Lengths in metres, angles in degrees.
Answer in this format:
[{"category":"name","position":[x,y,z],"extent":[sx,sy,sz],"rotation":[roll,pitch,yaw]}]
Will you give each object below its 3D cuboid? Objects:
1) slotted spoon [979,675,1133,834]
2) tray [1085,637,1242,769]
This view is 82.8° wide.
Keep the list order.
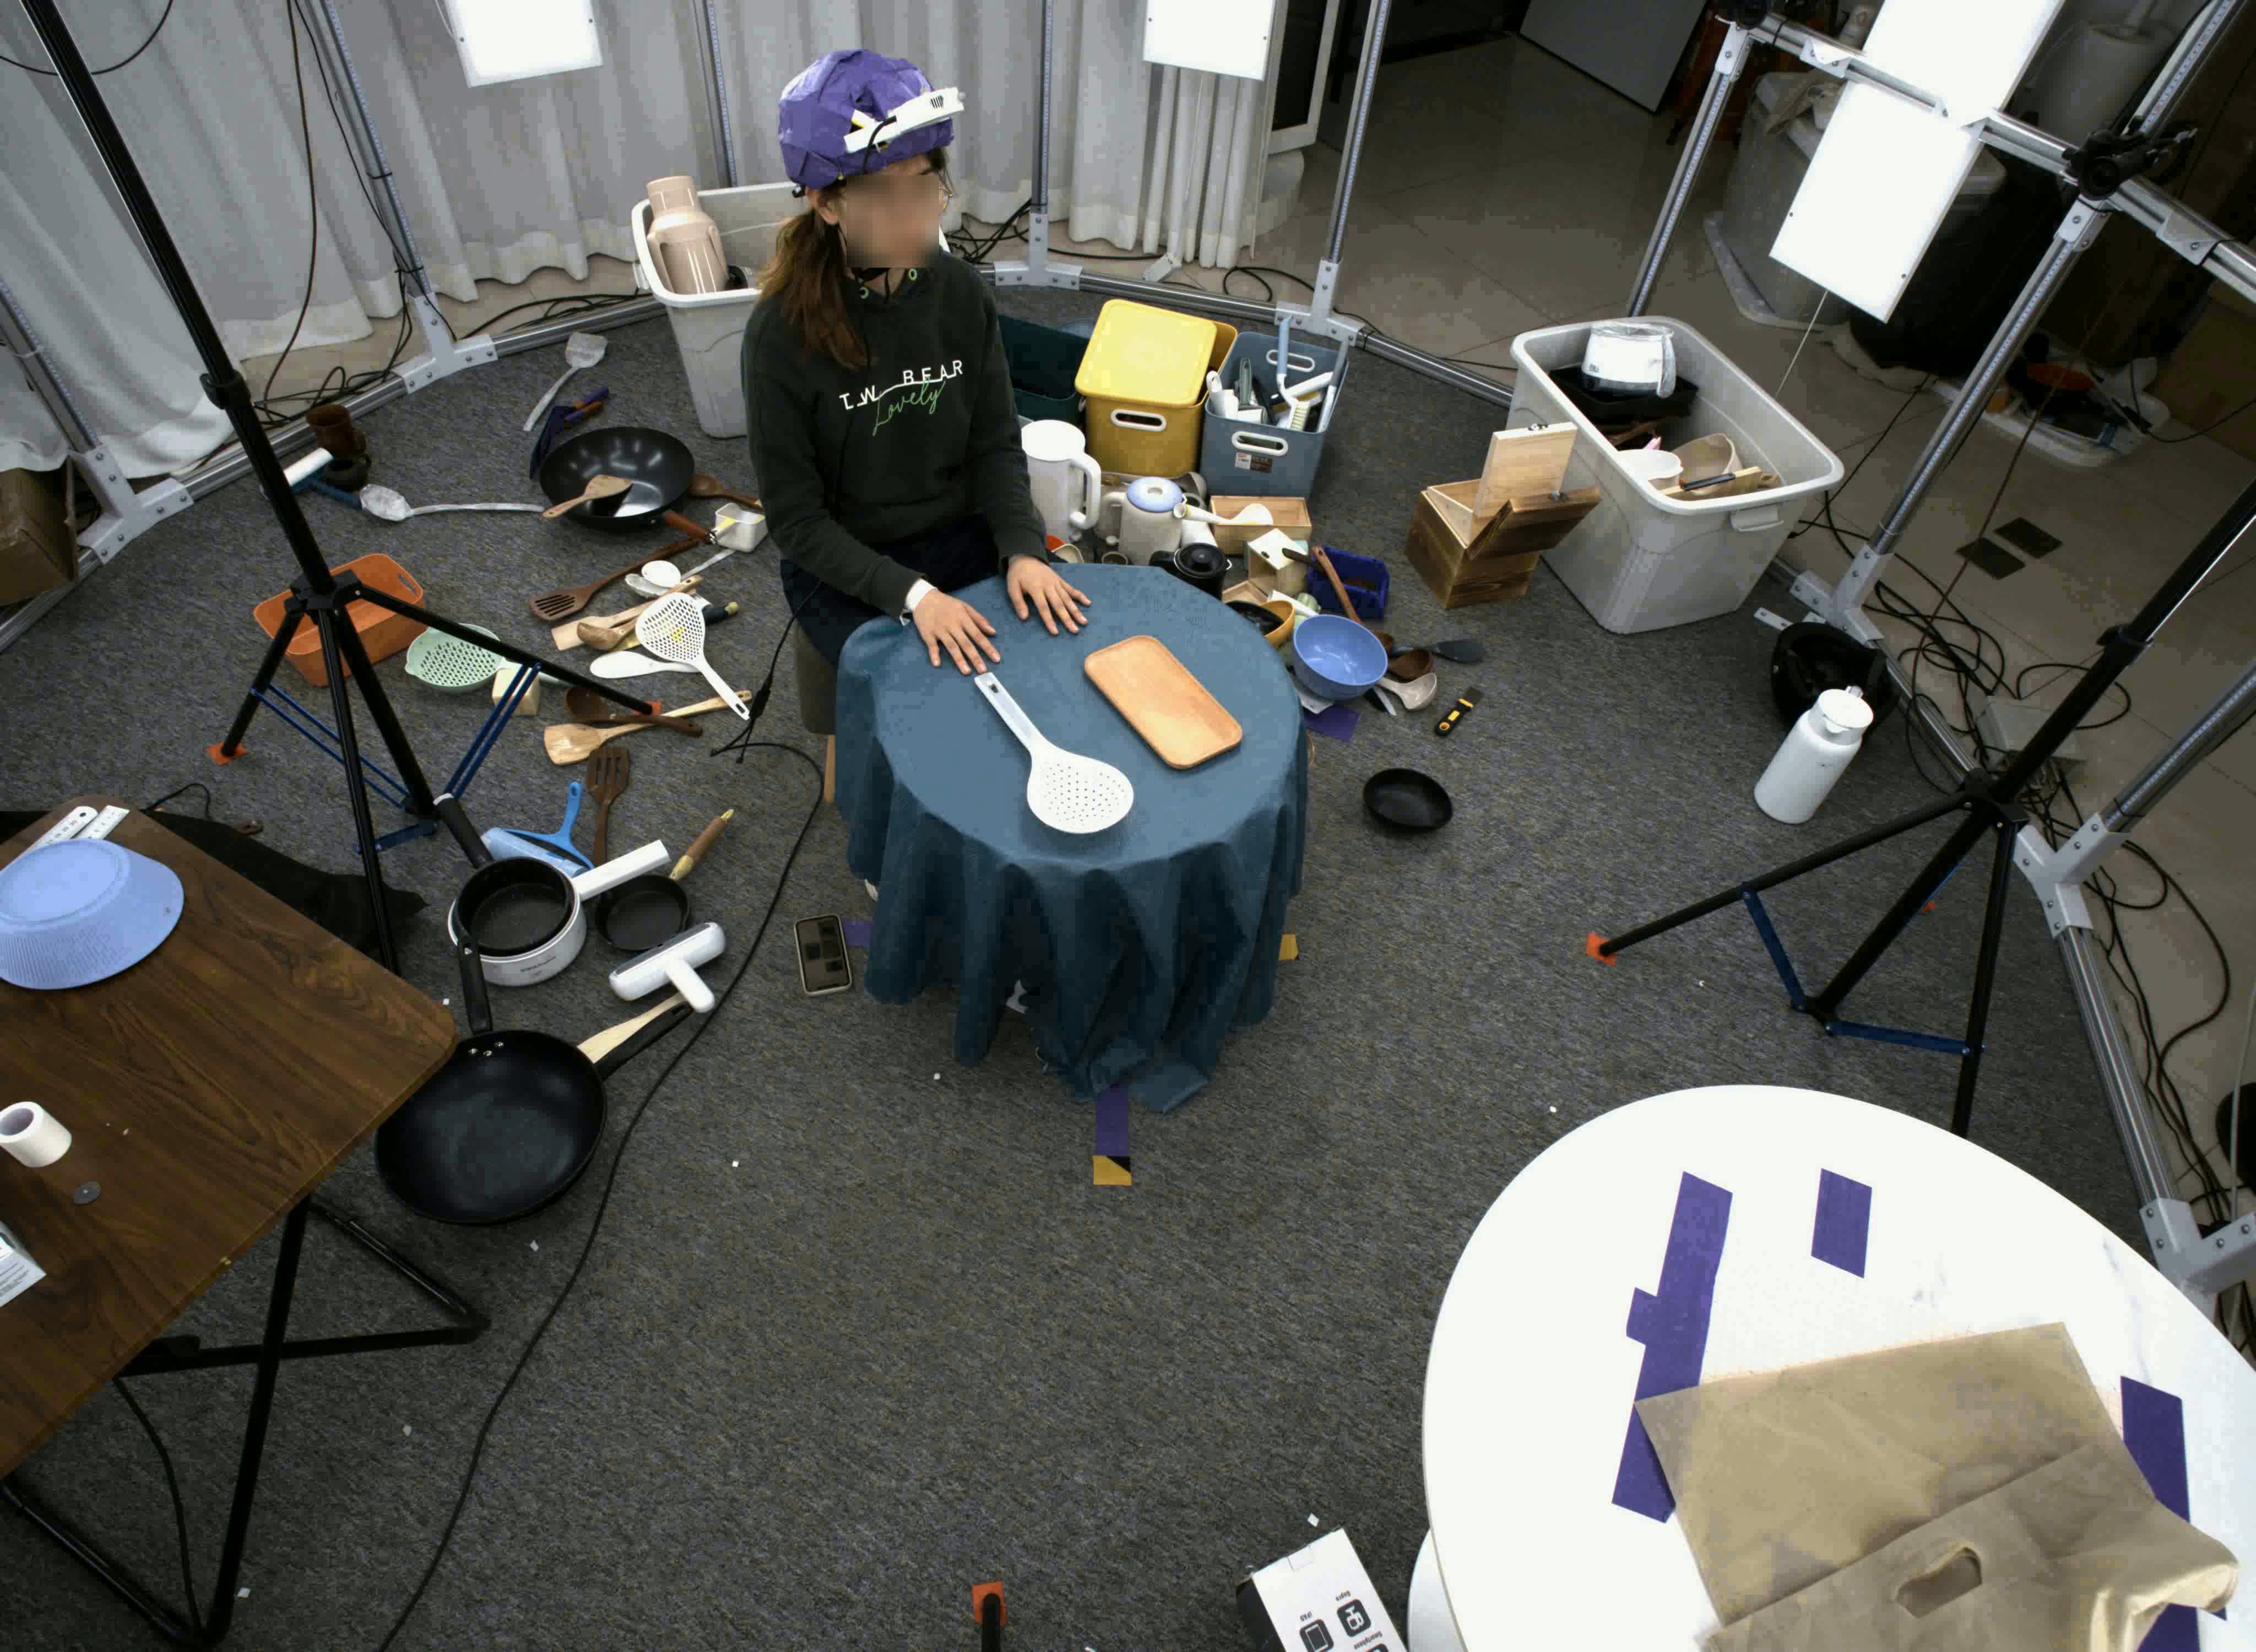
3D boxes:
[{"category":"slotted spoon","position":[-0.116,-0.102,1.735],"extent":[0.136,0.044,0.357],"rotation":[-20,52,-23]},{"category":"tray","position":[0.048,-0.178,1.832],"extent":[0.131,0.022,0.256],"rotation":[-23,53,-24]}]
